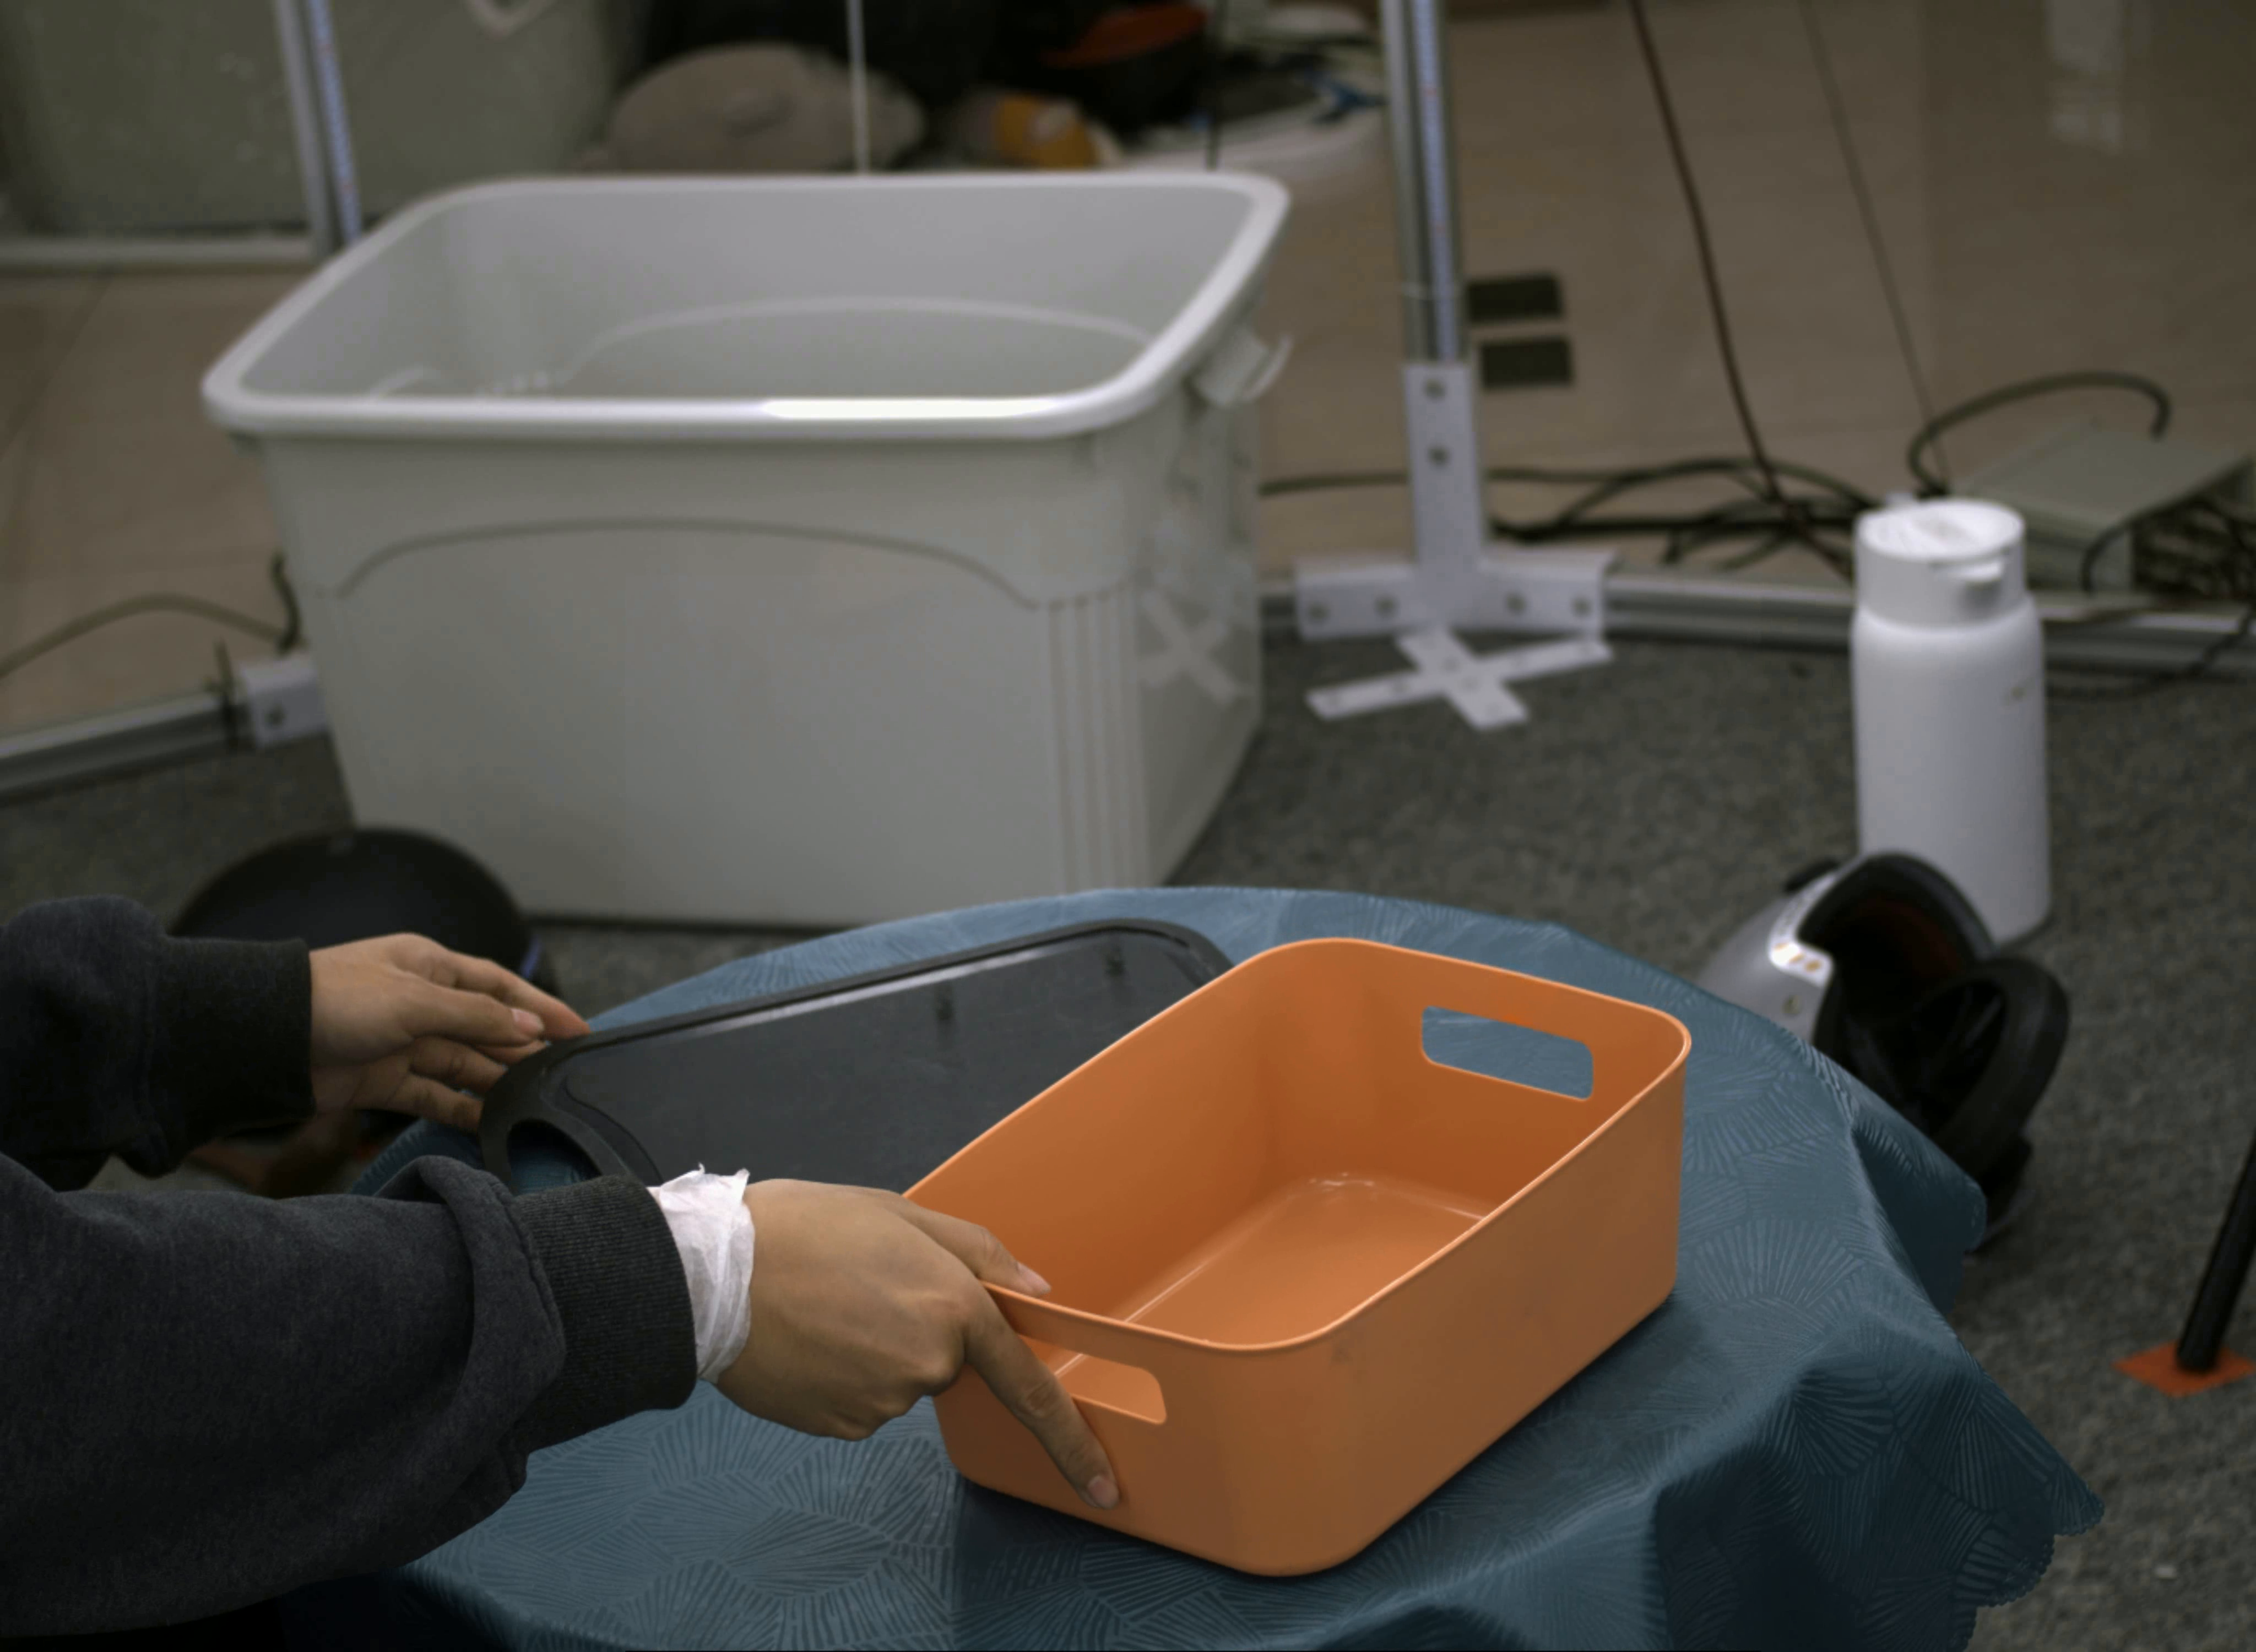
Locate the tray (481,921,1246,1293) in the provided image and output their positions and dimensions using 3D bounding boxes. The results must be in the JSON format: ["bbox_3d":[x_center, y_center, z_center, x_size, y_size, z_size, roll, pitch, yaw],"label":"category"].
[{"bbox_3d":[-0.090,0.107,2.218,0.324,0.010,0.208,-14,27,-18],"label":"tray"}]

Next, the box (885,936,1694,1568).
[{"bbox_3d":[0.061,0.148,1.987,0.198,0.104,0.270,14,31,36],"label":"box"}]
